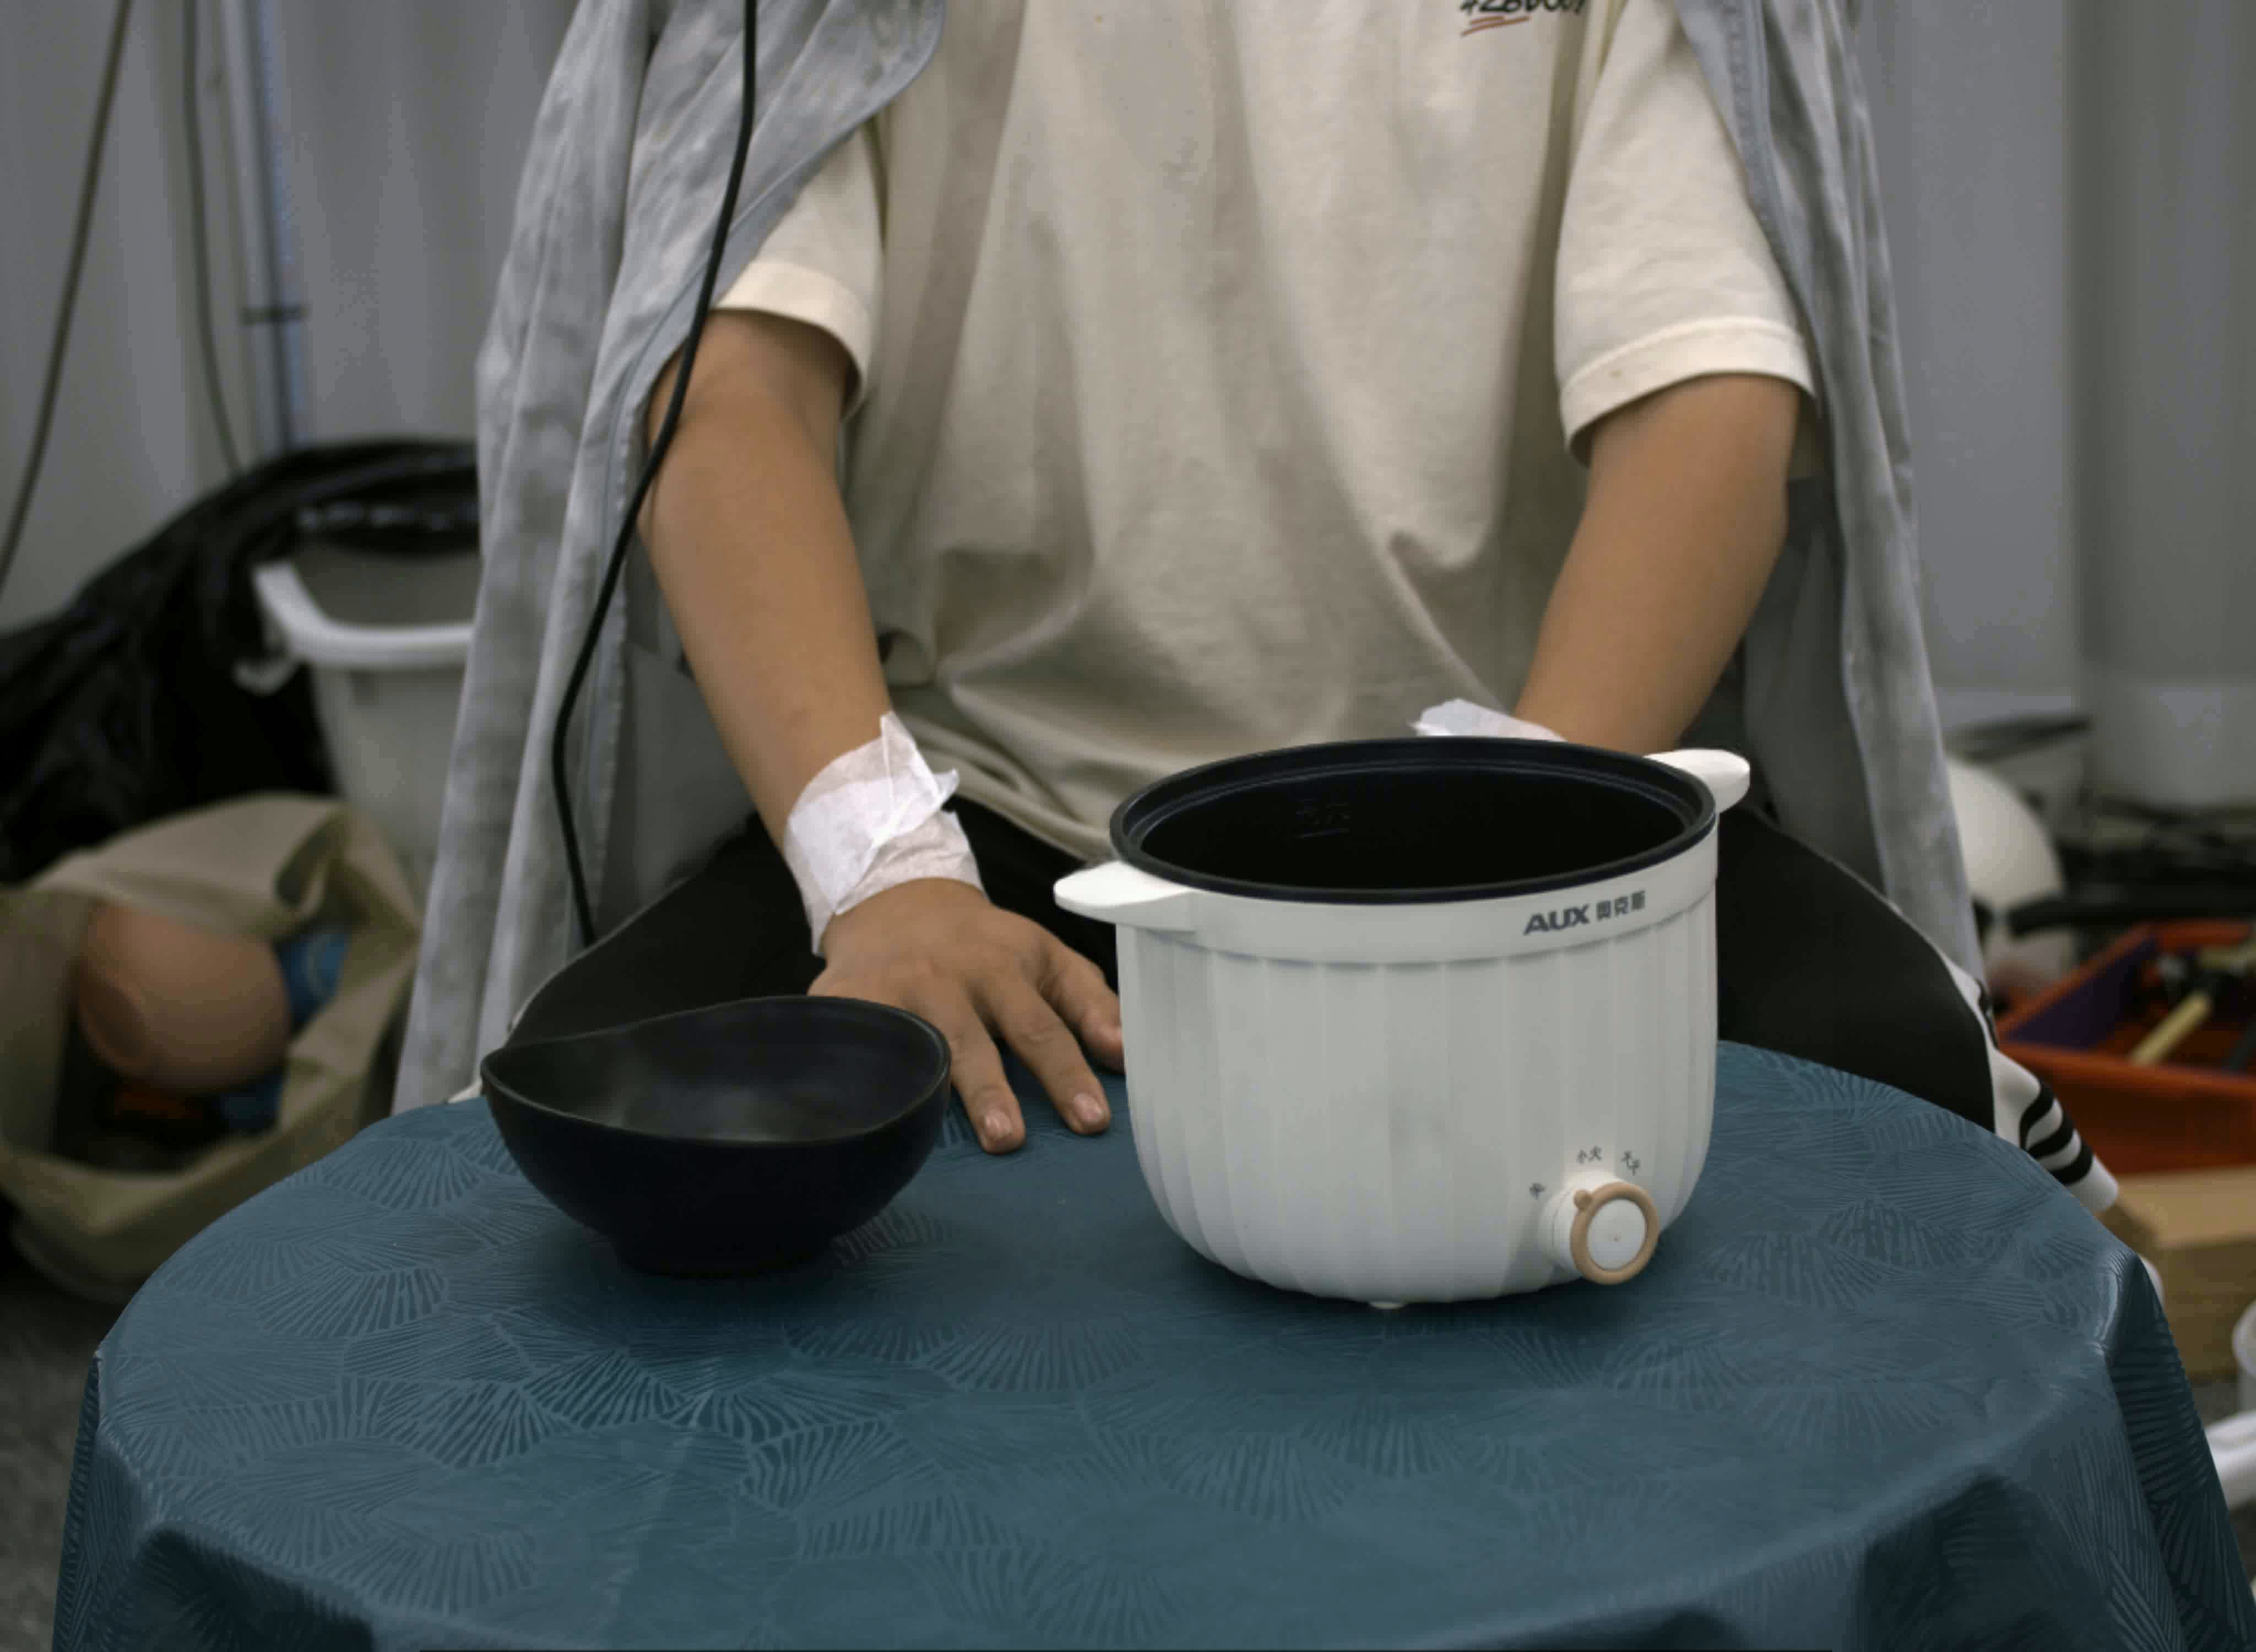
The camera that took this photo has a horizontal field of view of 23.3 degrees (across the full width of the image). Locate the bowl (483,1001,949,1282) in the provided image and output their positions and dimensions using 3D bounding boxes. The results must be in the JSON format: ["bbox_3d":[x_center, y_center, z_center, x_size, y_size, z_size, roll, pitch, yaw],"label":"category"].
[{"bbox_3d":[-0.127,0.100,1.677,0.137,0.066,0.171,-9,15,-30],"label":"bowl"}]

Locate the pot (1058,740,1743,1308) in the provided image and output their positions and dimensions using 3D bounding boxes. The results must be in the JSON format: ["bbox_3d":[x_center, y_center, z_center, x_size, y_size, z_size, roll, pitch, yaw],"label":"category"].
[{"bbox_3d":[0.091,0.061,1.639,0.239,0.142,0.191,-12,13,-29],"label":"pot"}]
